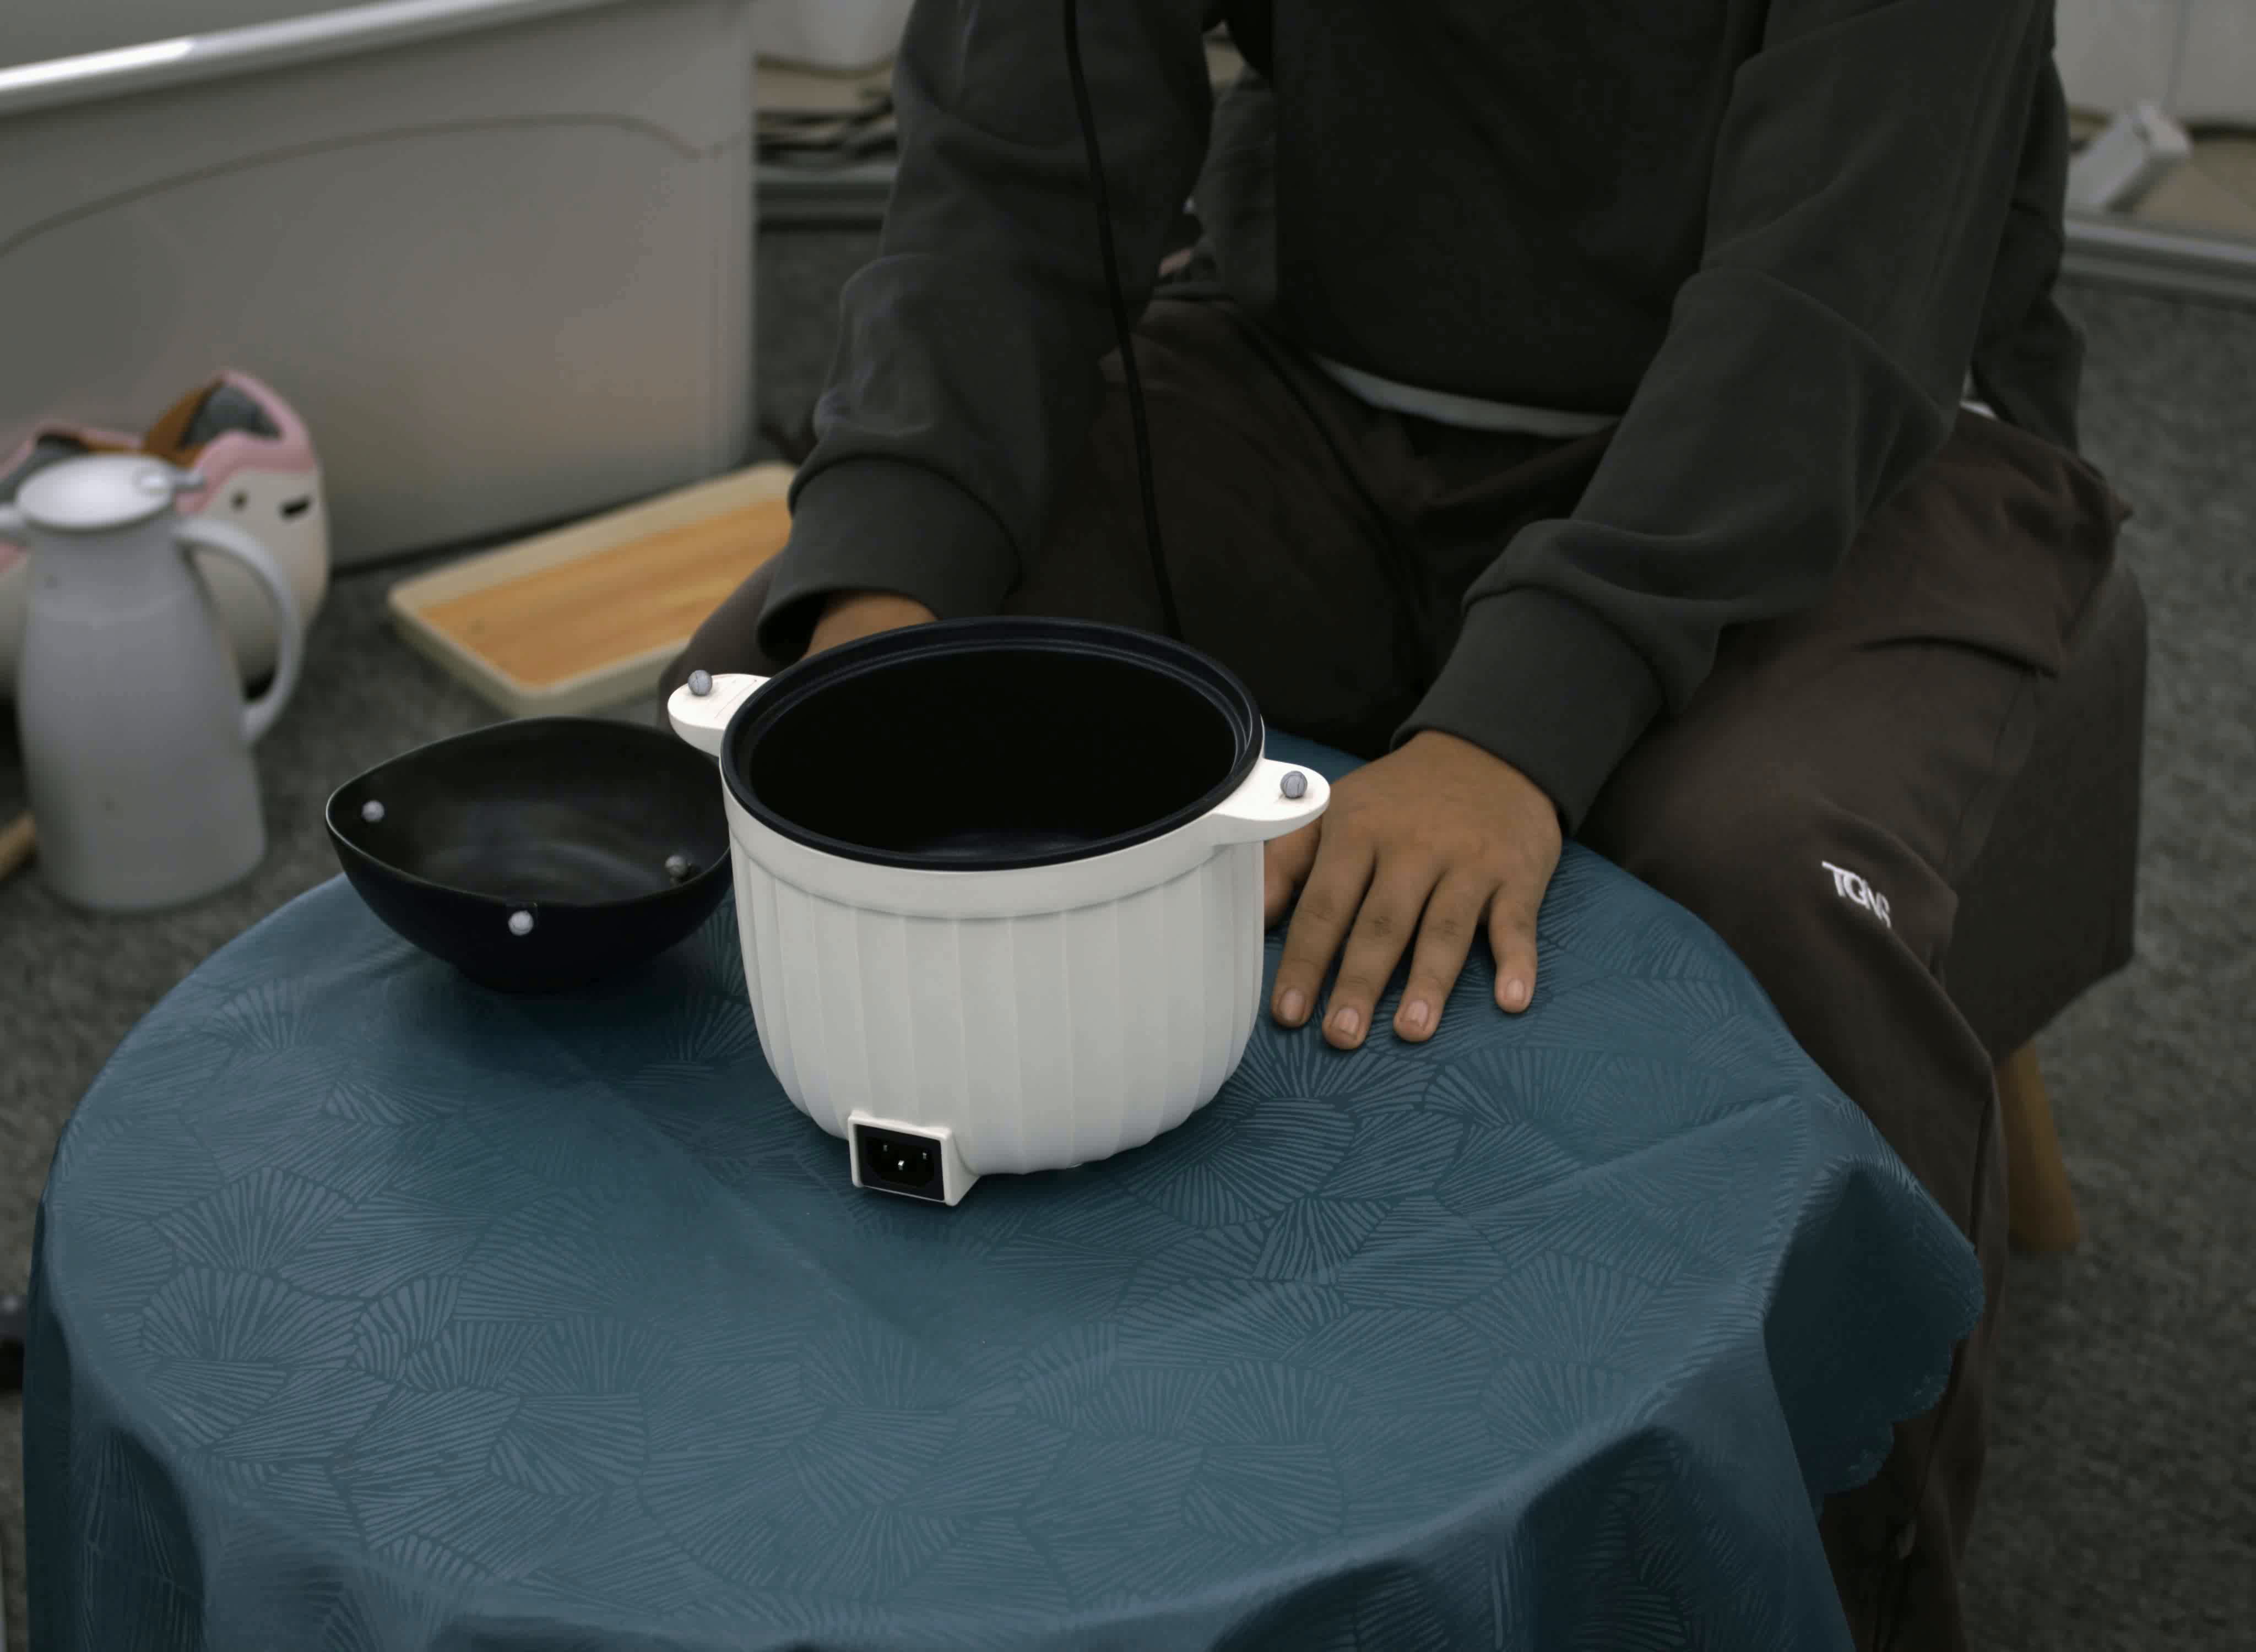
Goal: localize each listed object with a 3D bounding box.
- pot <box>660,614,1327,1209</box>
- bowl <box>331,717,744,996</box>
[{"bbox_3d":[-0.042,0.026,1.906,0.239,0.141,0.194,10,32,21],"label":"pot"},{"bbox_3d":[-0.211,0.019,2.013,0.170,0.066,0.139,20,34,39],"label":"bowl"}]
